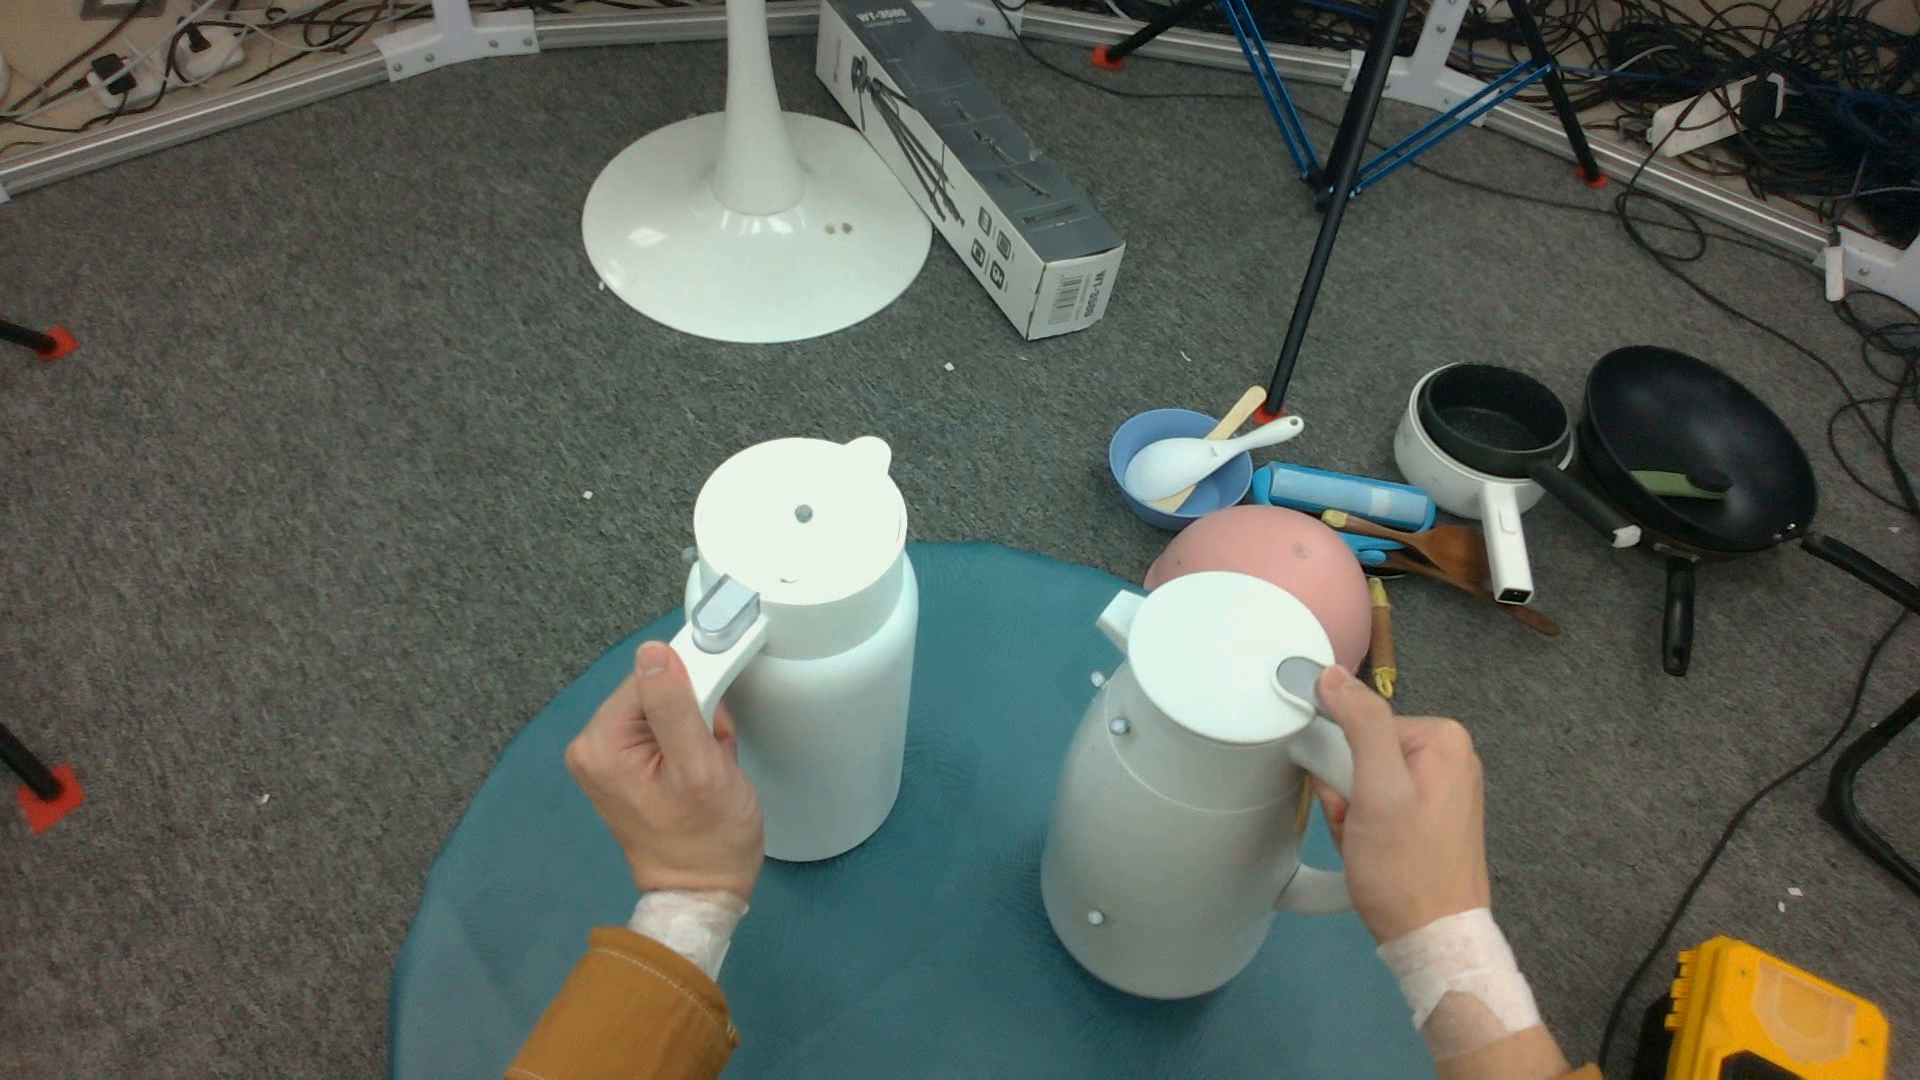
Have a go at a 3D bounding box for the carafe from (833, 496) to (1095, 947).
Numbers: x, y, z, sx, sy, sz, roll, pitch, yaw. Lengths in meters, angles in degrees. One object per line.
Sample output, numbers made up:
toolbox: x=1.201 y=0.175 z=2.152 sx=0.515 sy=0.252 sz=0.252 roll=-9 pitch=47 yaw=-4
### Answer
carafe: x=0.003 y=0.123 z=0.726 sx=0.124 sy=0.267 sz=0.173 roll=17 pitch=54 yaw=19

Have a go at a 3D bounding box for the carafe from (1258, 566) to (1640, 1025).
carafe: x=0.229 y=0.126 z=0.661 sx=0.167 sy=0.247 sz=0.133 roll=18 pitch=54 yaw=25
